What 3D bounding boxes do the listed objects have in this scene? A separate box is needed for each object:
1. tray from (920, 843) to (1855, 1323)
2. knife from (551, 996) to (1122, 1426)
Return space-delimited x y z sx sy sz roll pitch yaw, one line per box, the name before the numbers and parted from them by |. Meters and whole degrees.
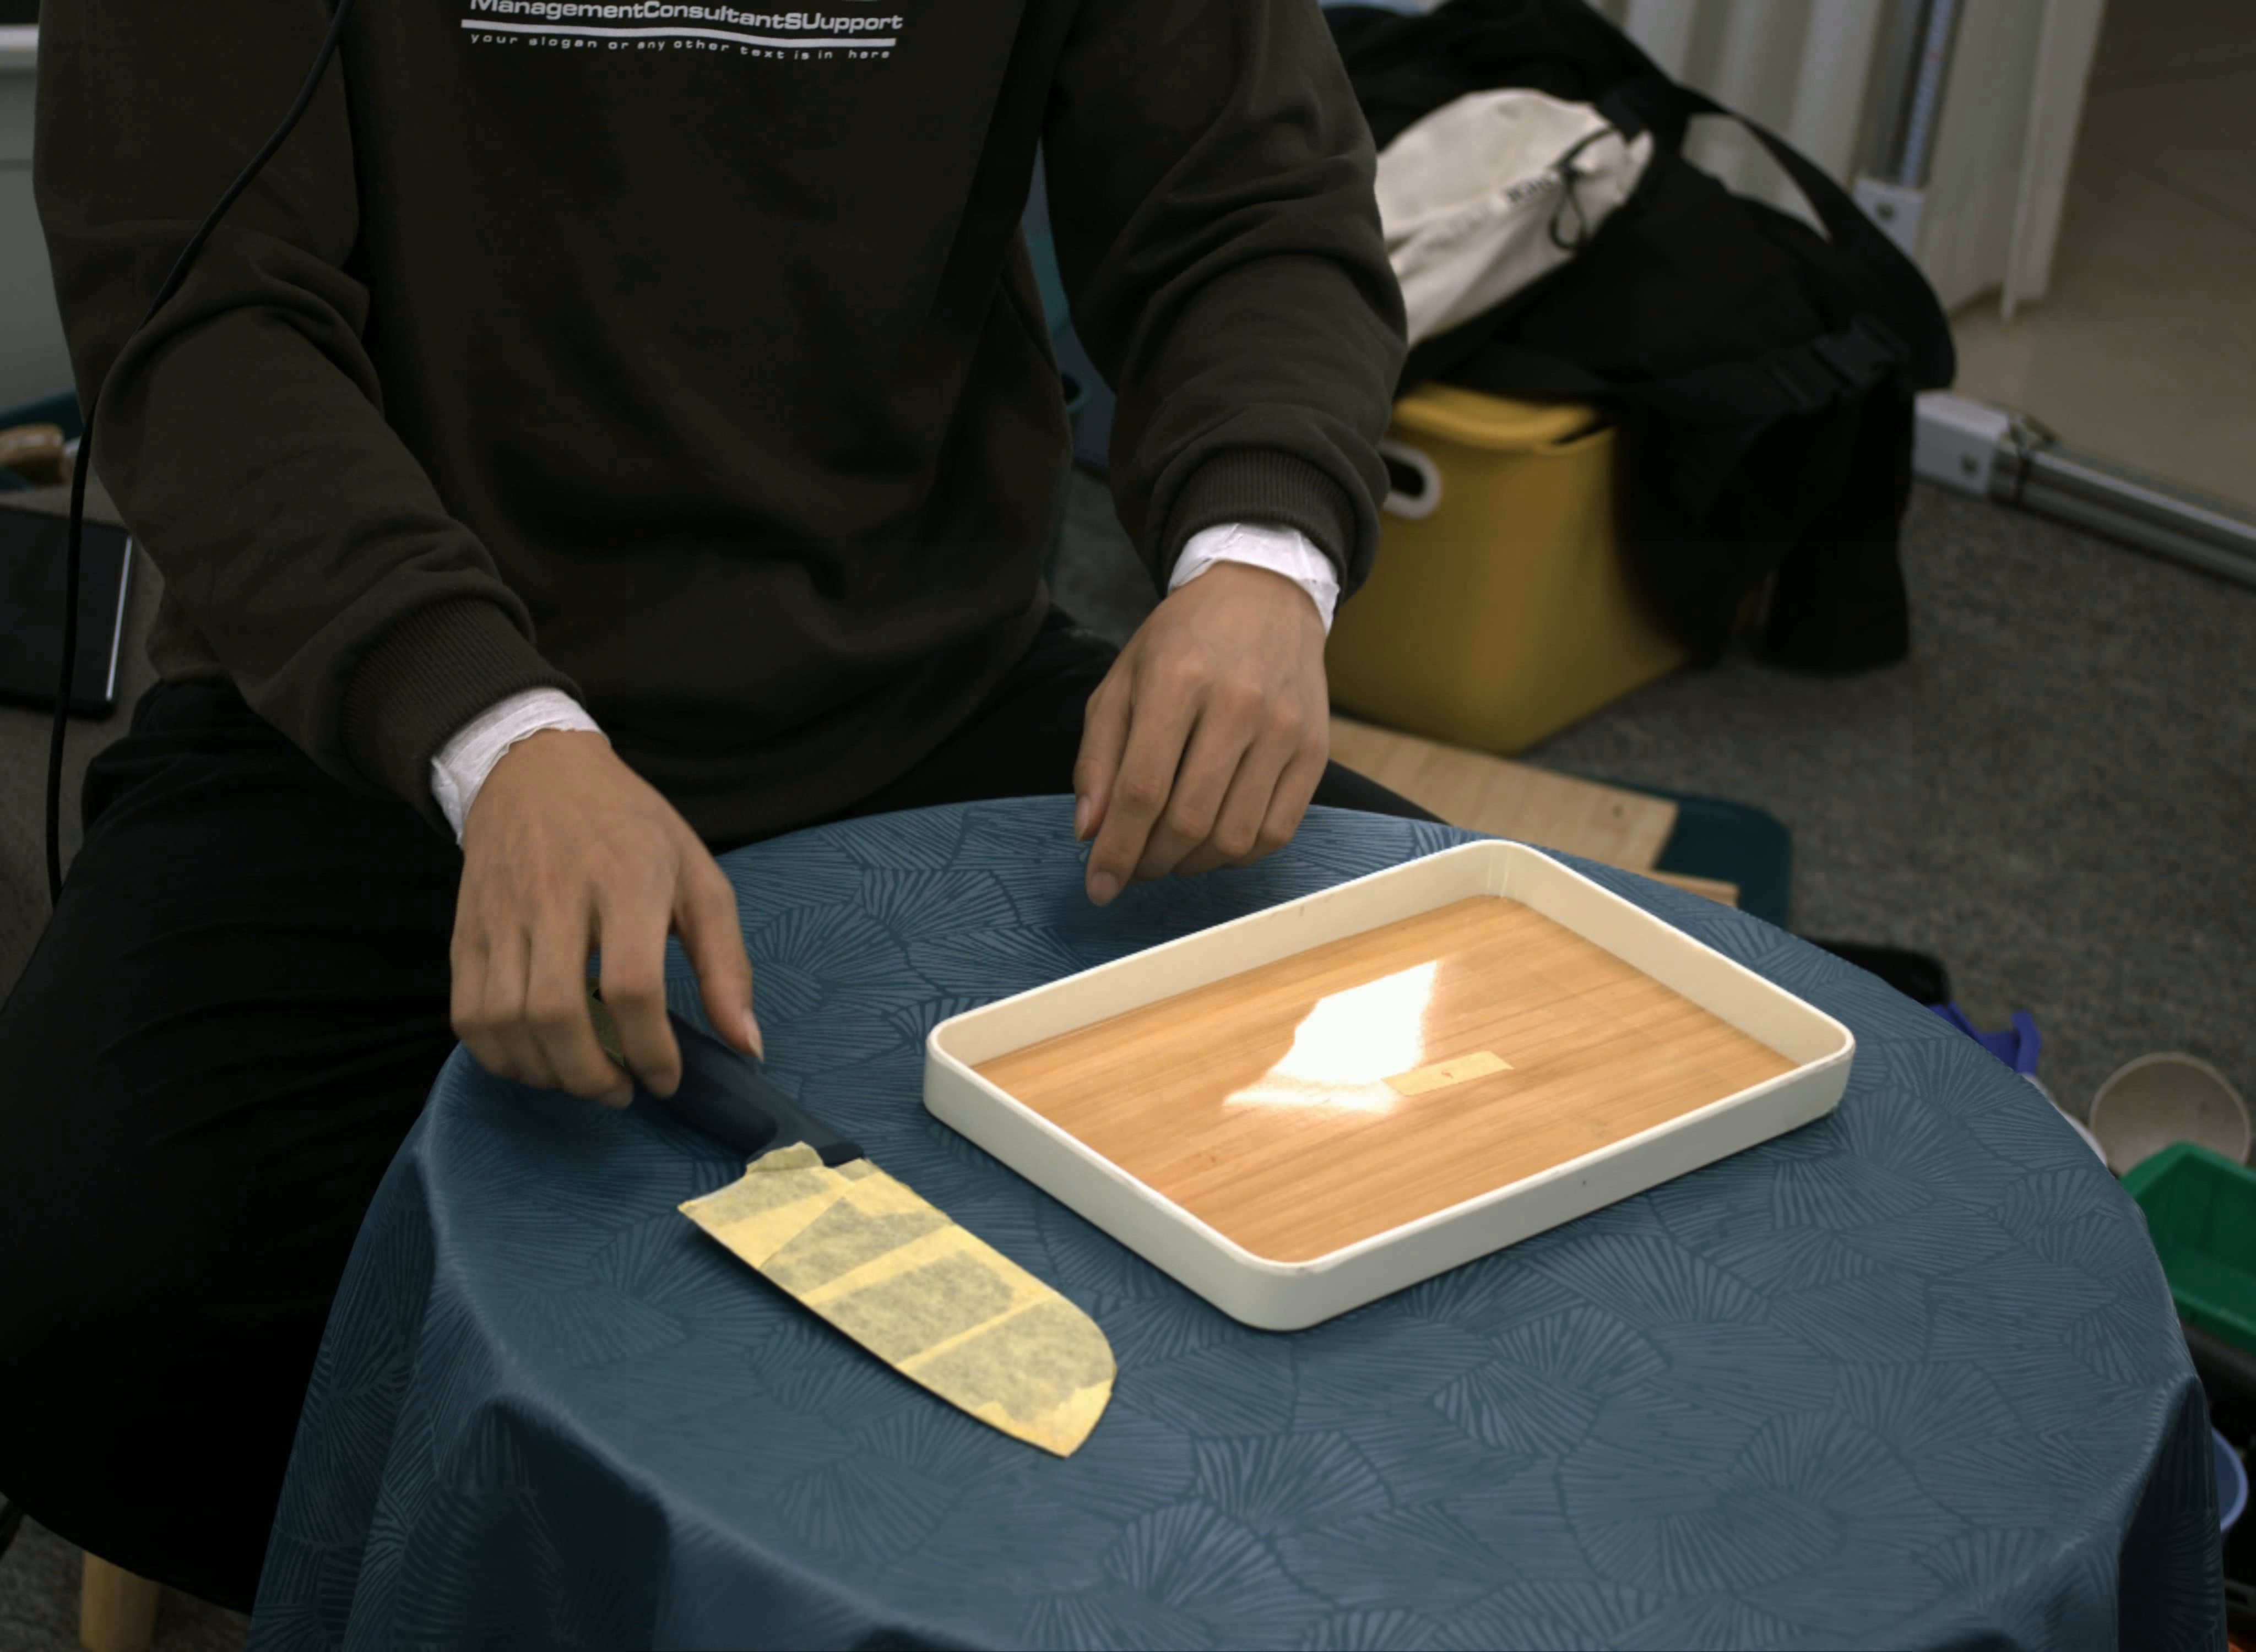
tray | 0.093 0.085 1.874 0.298 0.027 0.193 -17 34 -39
knife | -0.106 0.127 1.758 0.080 0.027 0.292 -16 35 -40
